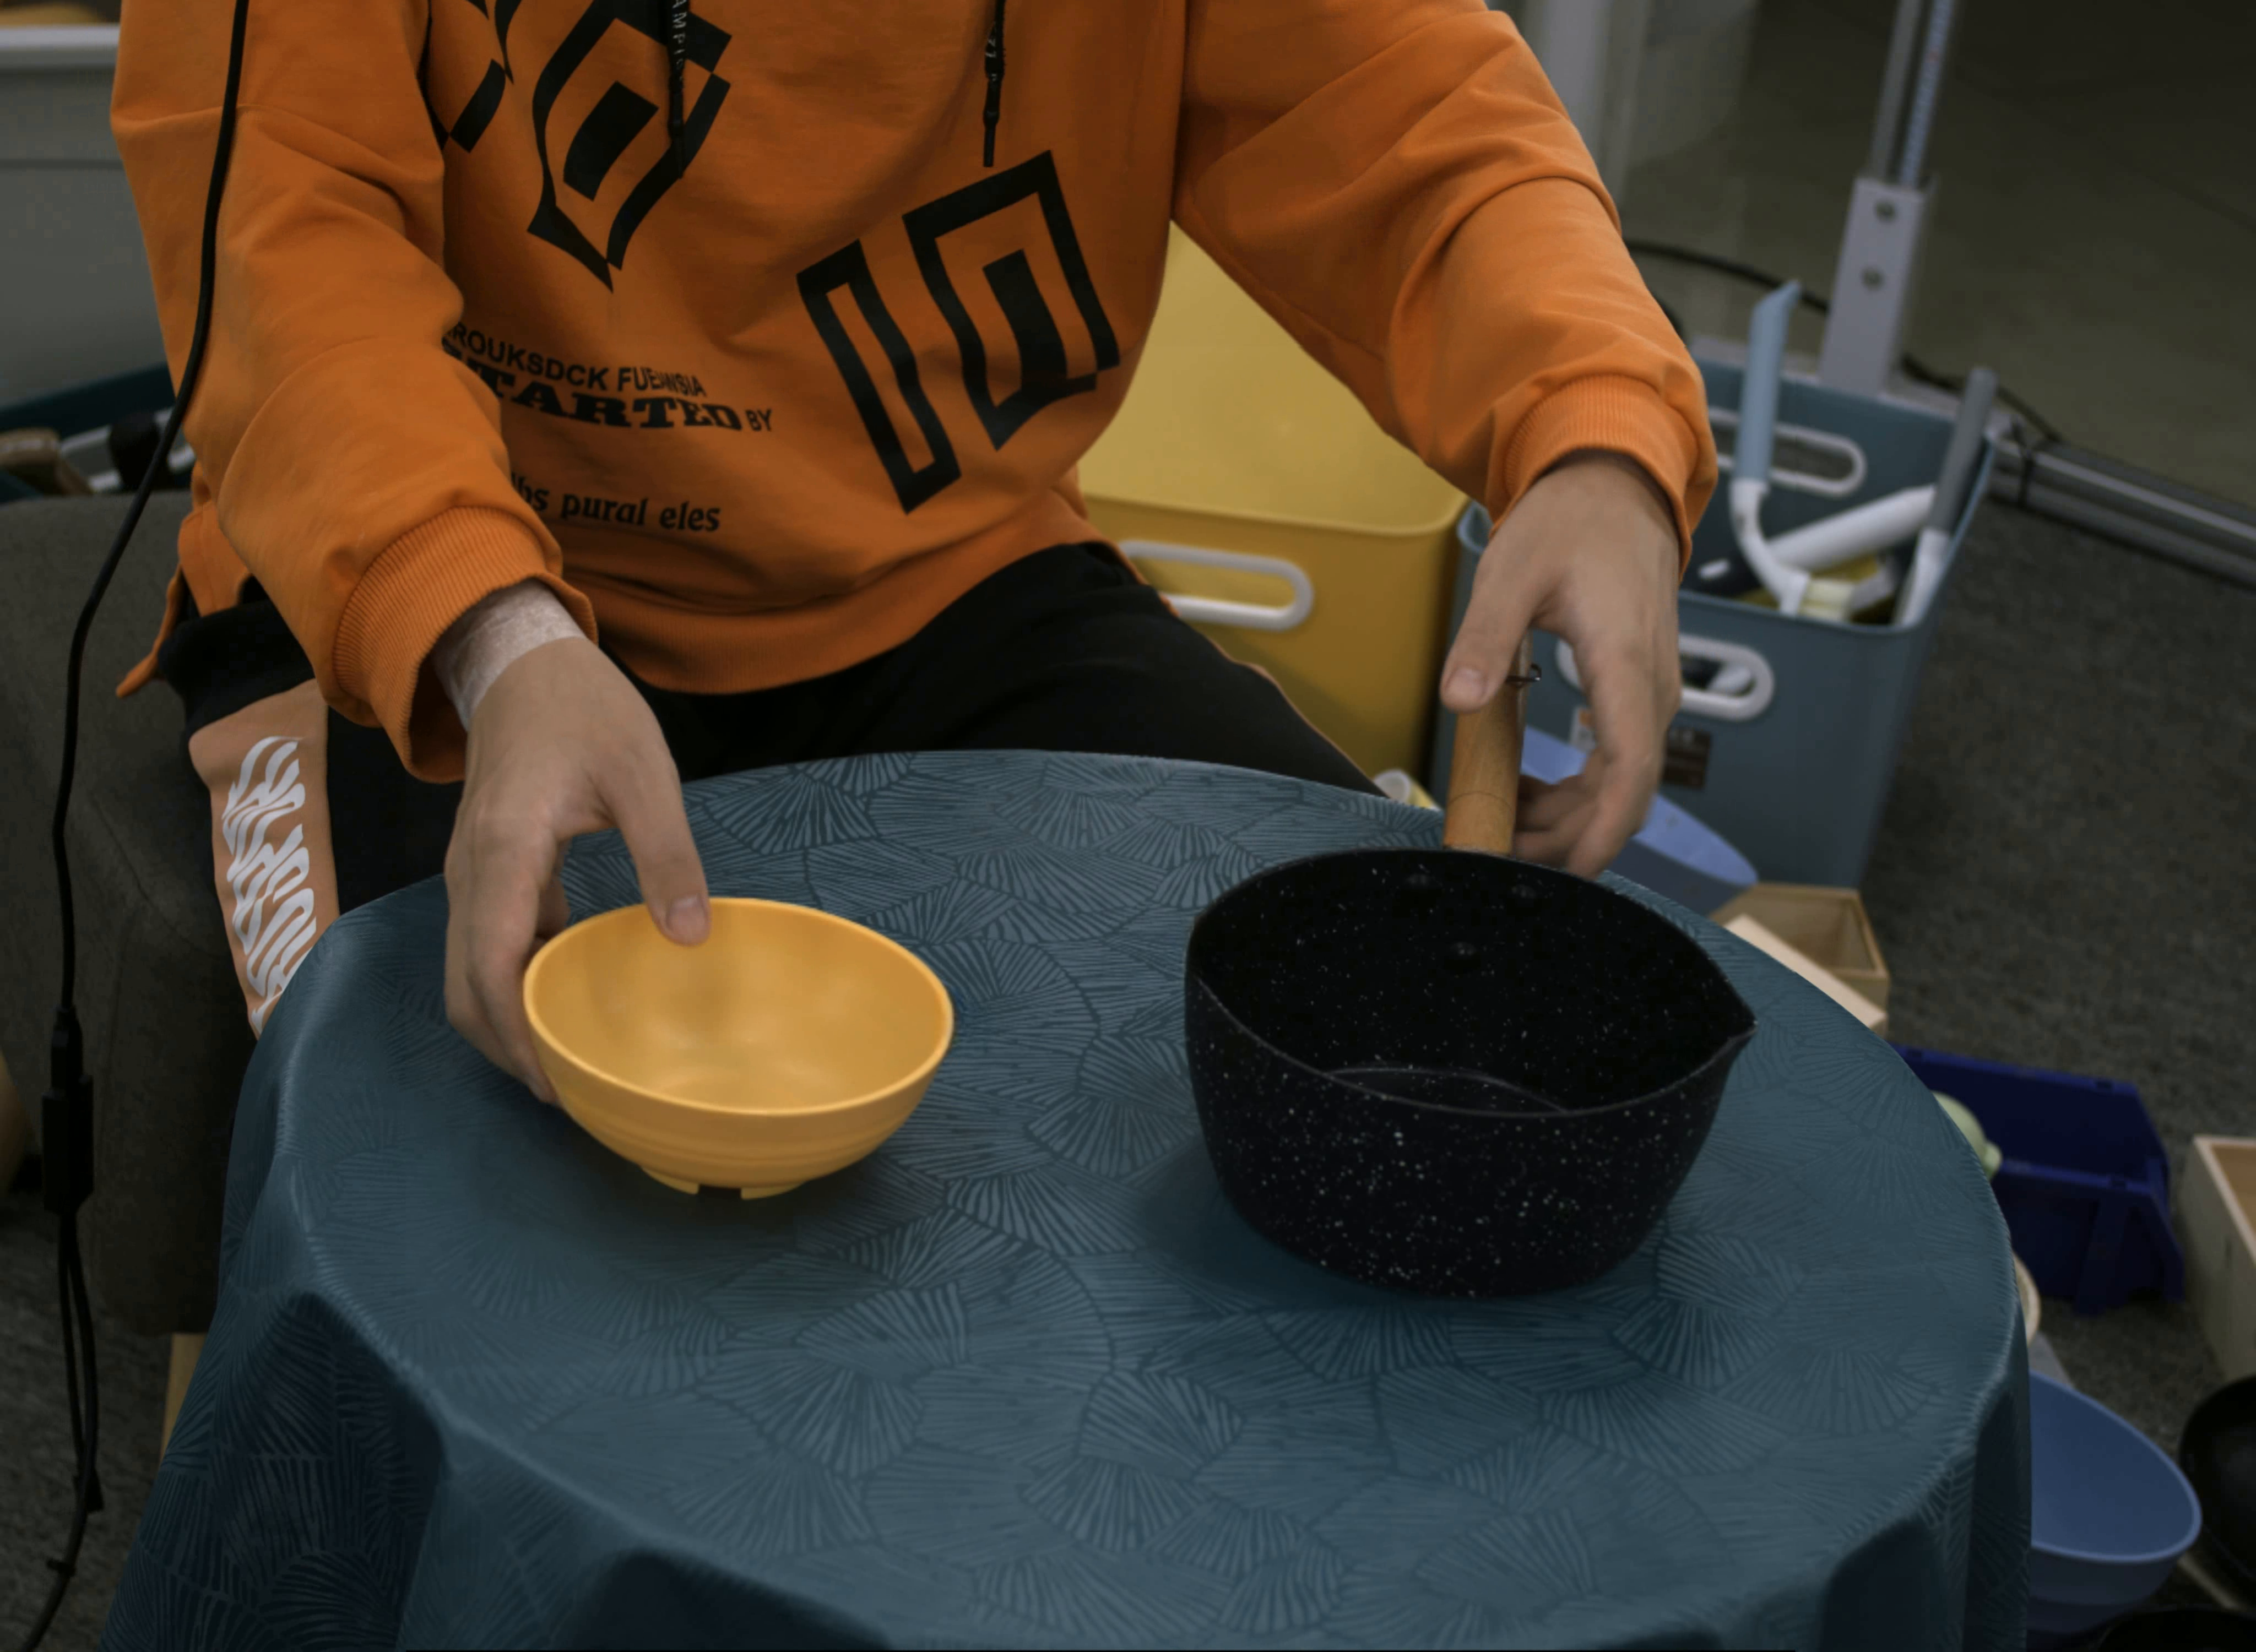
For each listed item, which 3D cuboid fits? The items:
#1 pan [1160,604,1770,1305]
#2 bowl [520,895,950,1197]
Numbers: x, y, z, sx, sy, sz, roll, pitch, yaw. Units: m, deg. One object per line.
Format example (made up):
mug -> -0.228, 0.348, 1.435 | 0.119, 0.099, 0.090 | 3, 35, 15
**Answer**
pan -> 0.117, 0.041, 1.872 | 0.207, 0.108, 0.344 | 6, 28, 3
bowl -> -0.134, 0.083, 1.788 | 0.145, 0.060, 0.146 | 6, 27, -4
